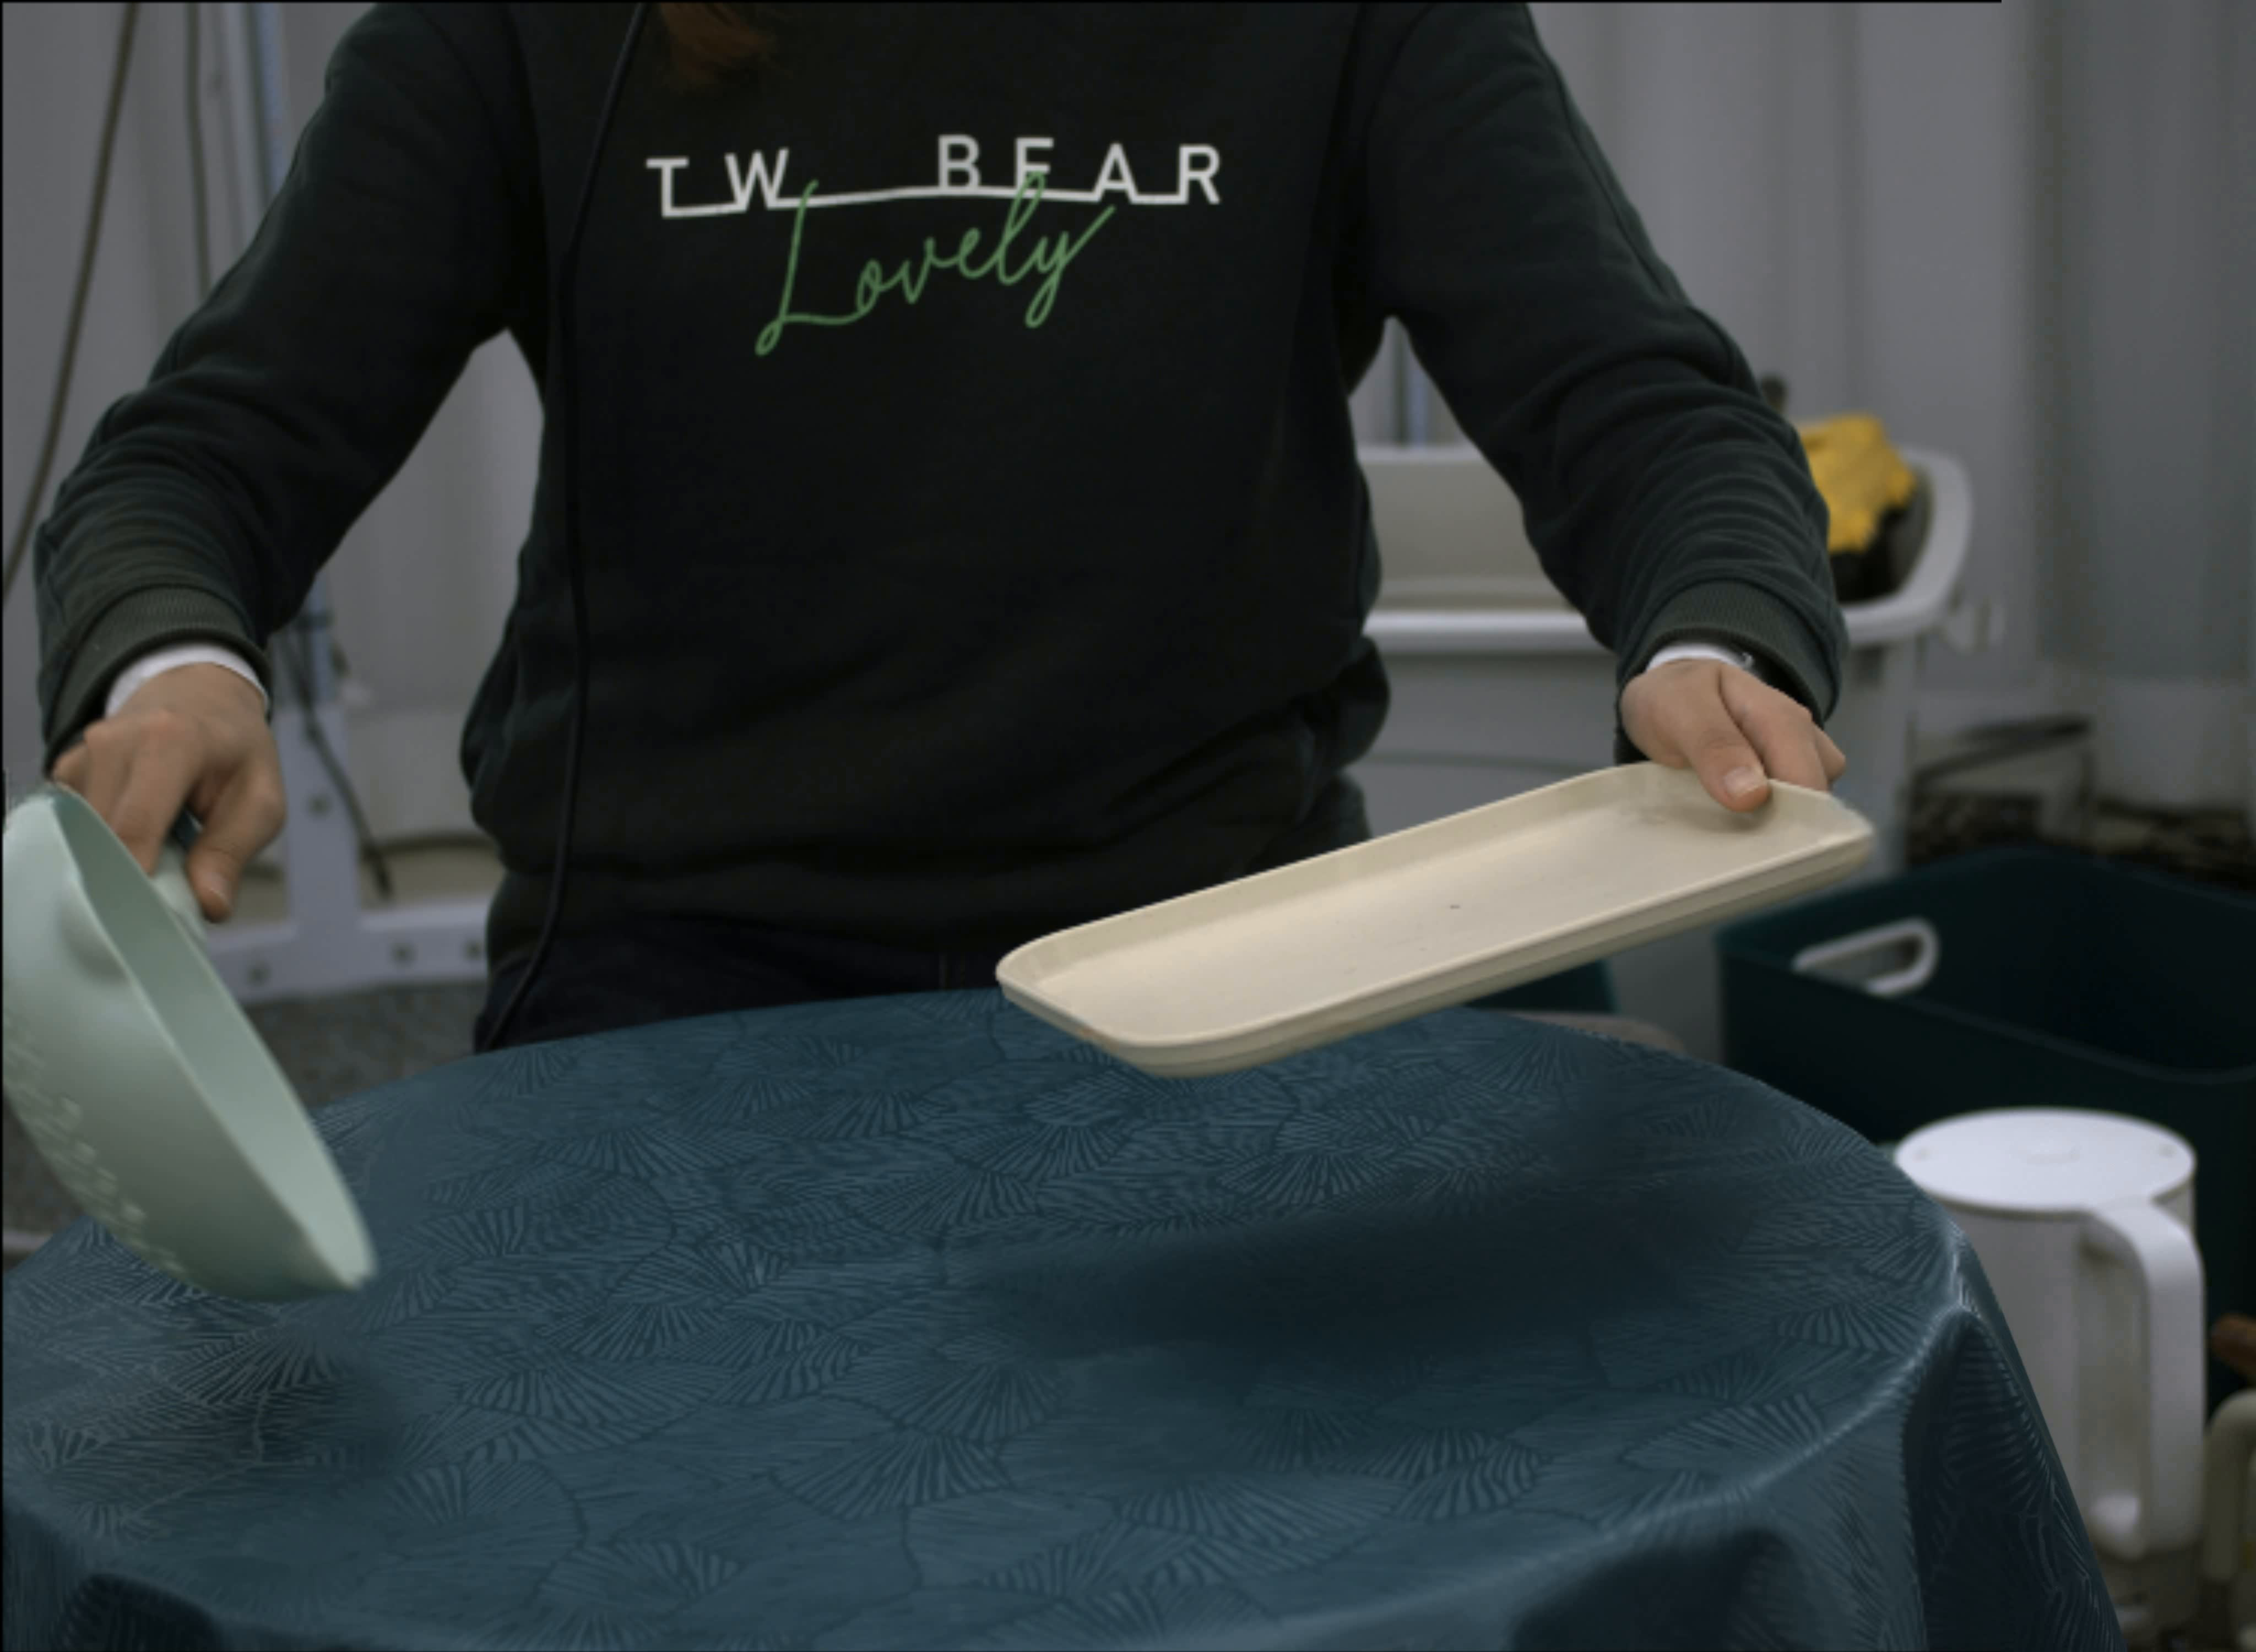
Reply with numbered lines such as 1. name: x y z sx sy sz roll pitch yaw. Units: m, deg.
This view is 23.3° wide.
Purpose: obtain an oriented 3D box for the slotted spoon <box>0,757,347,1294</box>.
1. slotted spoon: -0.296 0.037 1.631 0.075 0.168 0.362 -27 18 2

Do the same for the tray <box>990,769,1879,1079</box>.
1. tray: 0.089 0.028 1.607 0.239 0.017 0.172 -16 12 -17
